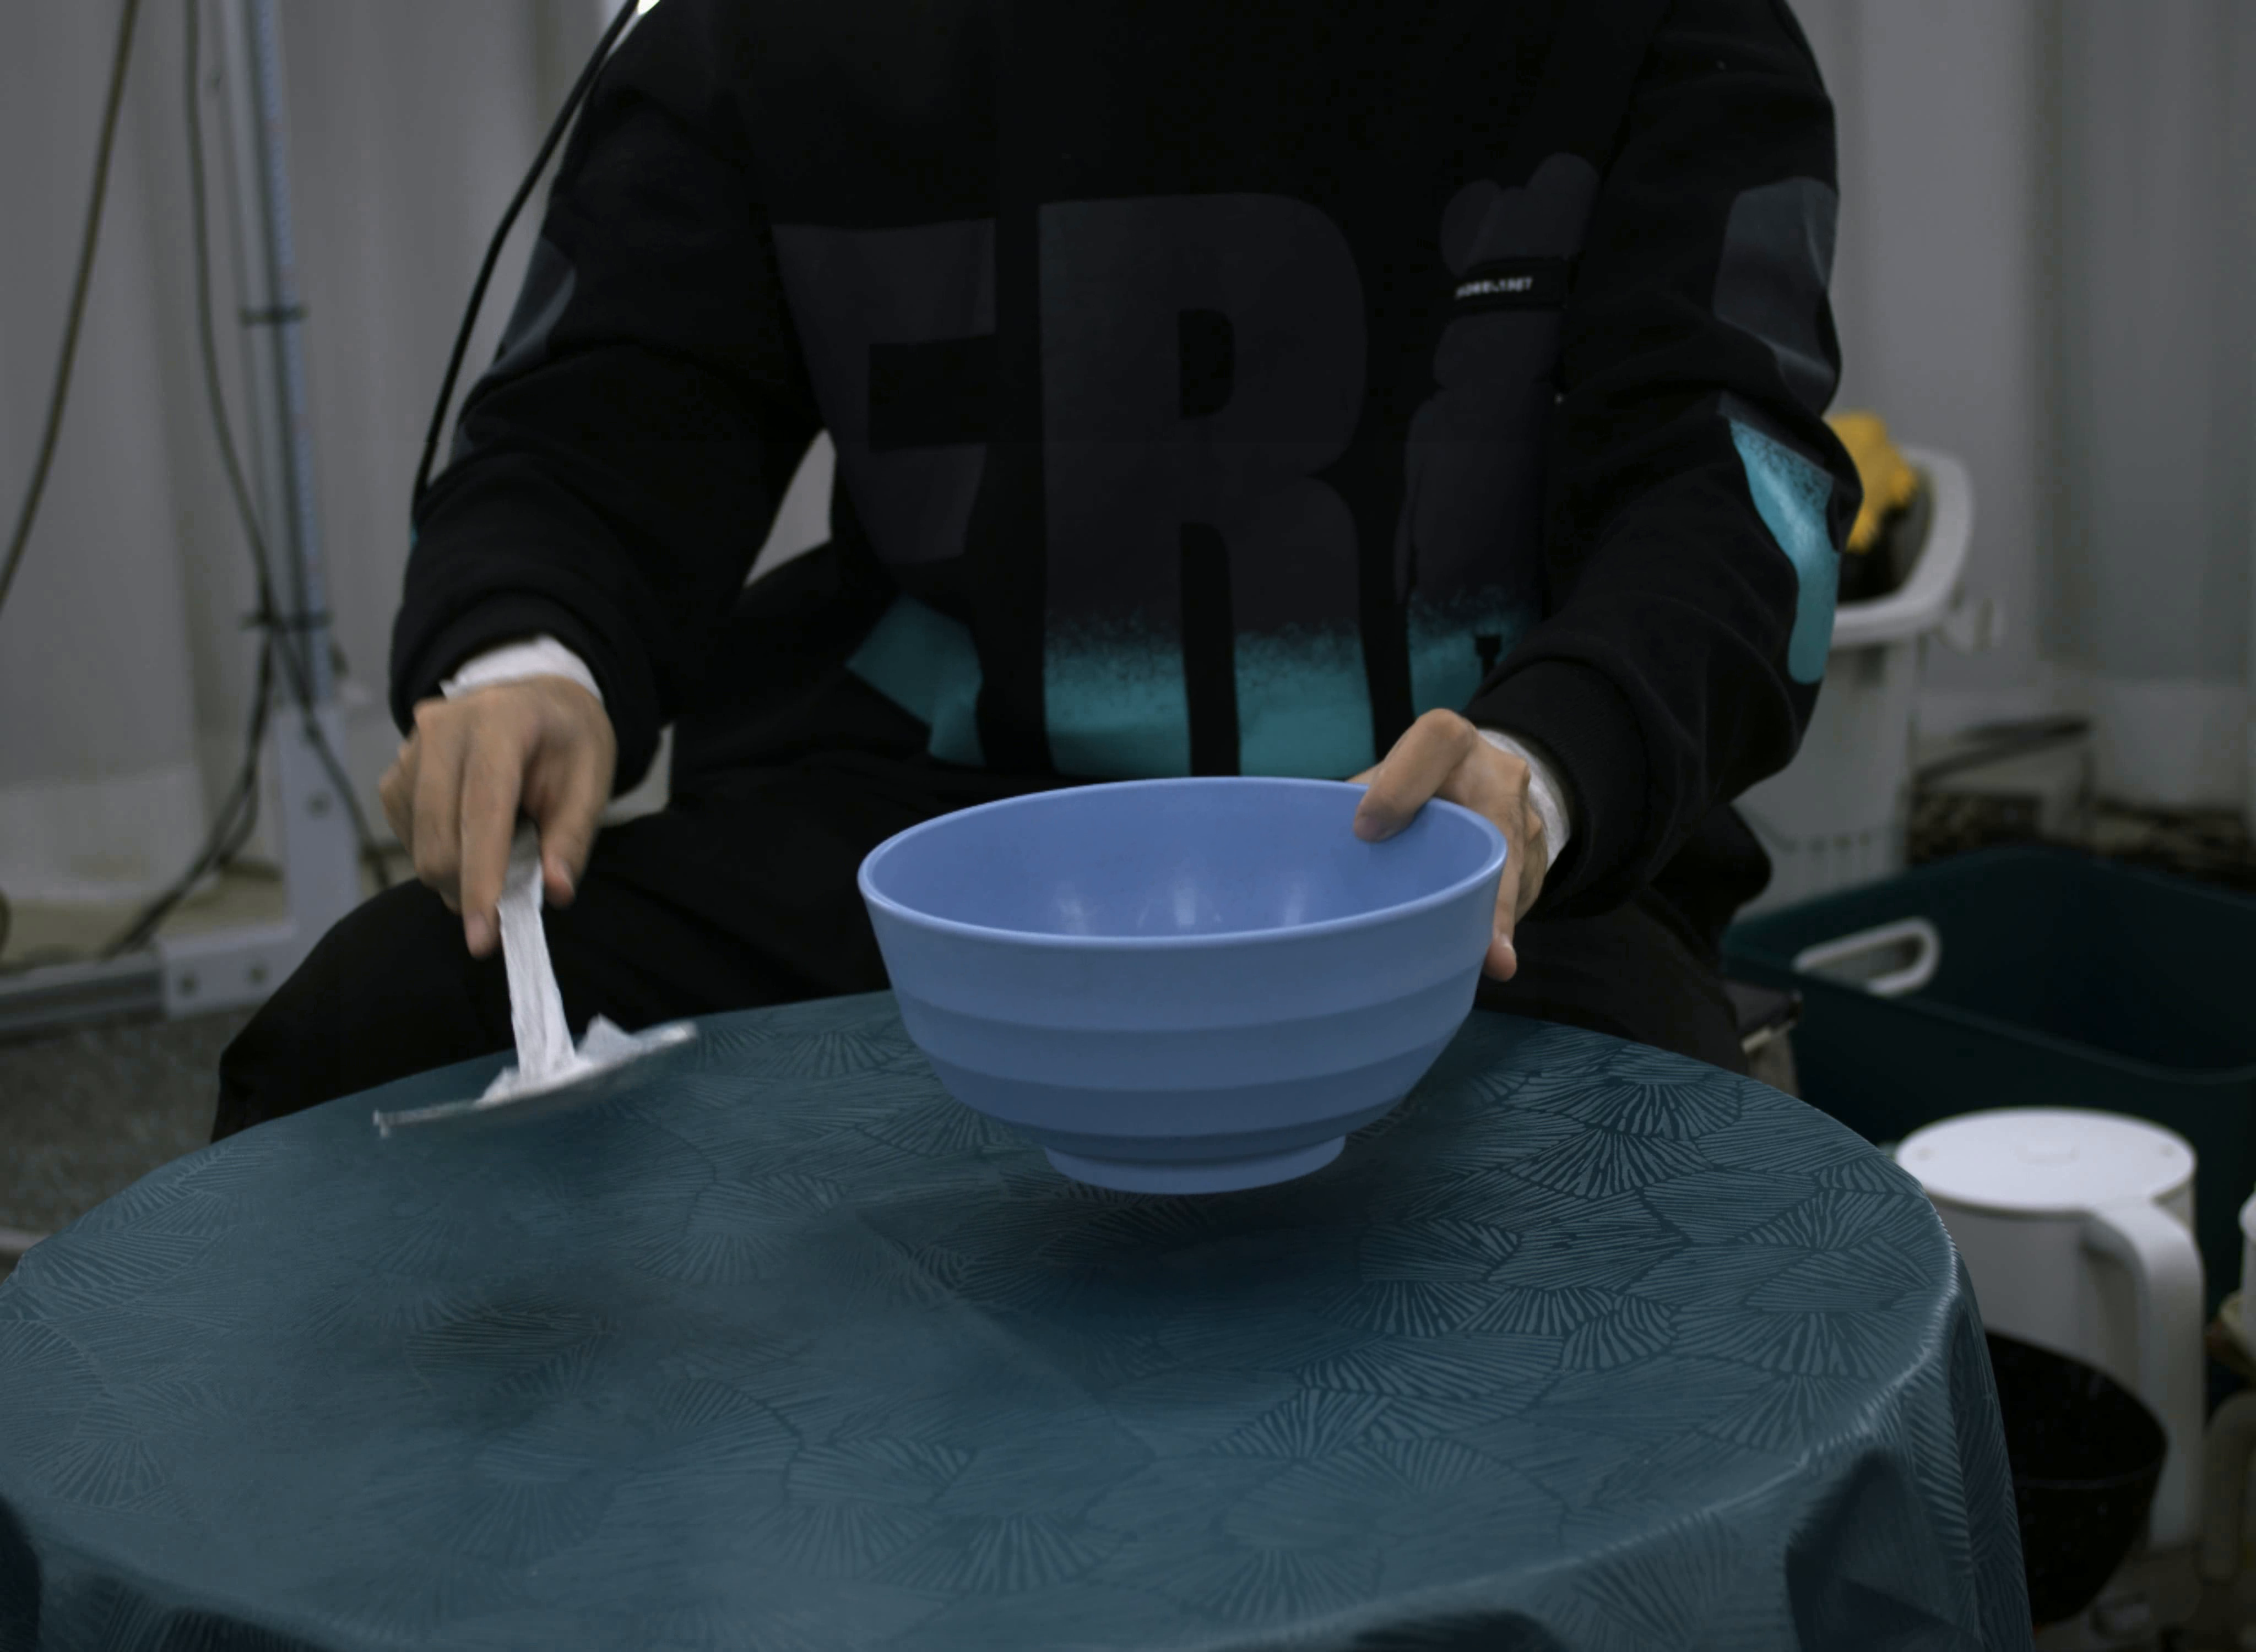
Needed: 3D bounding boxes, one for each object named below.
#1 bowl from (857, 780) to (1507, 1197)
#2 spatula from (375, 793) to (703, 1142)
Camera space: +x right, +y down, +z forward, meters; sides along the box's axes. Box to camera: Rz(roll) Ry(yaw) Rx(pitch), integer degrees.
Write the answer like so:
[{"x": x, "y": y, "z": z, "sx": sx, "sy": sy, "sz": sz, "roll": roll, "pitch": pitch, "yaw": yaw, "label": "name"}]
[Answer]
[{"x": 0.019, "y": 0.054, "z": 1.658, "sx": 0.196, "sy": 0.095, "sz": 0.198, "roll": -4, "pitch": 14, "yaw": 1, "label": "bowl"}, {"x": -0.187, "y": 0.035, "z": 1.731, "sx": 0.098, "sy": 0.044, "sz": 0.368, "roll": -17, "pitch": 20, "yaw": -2, "label": "spatula"}]
